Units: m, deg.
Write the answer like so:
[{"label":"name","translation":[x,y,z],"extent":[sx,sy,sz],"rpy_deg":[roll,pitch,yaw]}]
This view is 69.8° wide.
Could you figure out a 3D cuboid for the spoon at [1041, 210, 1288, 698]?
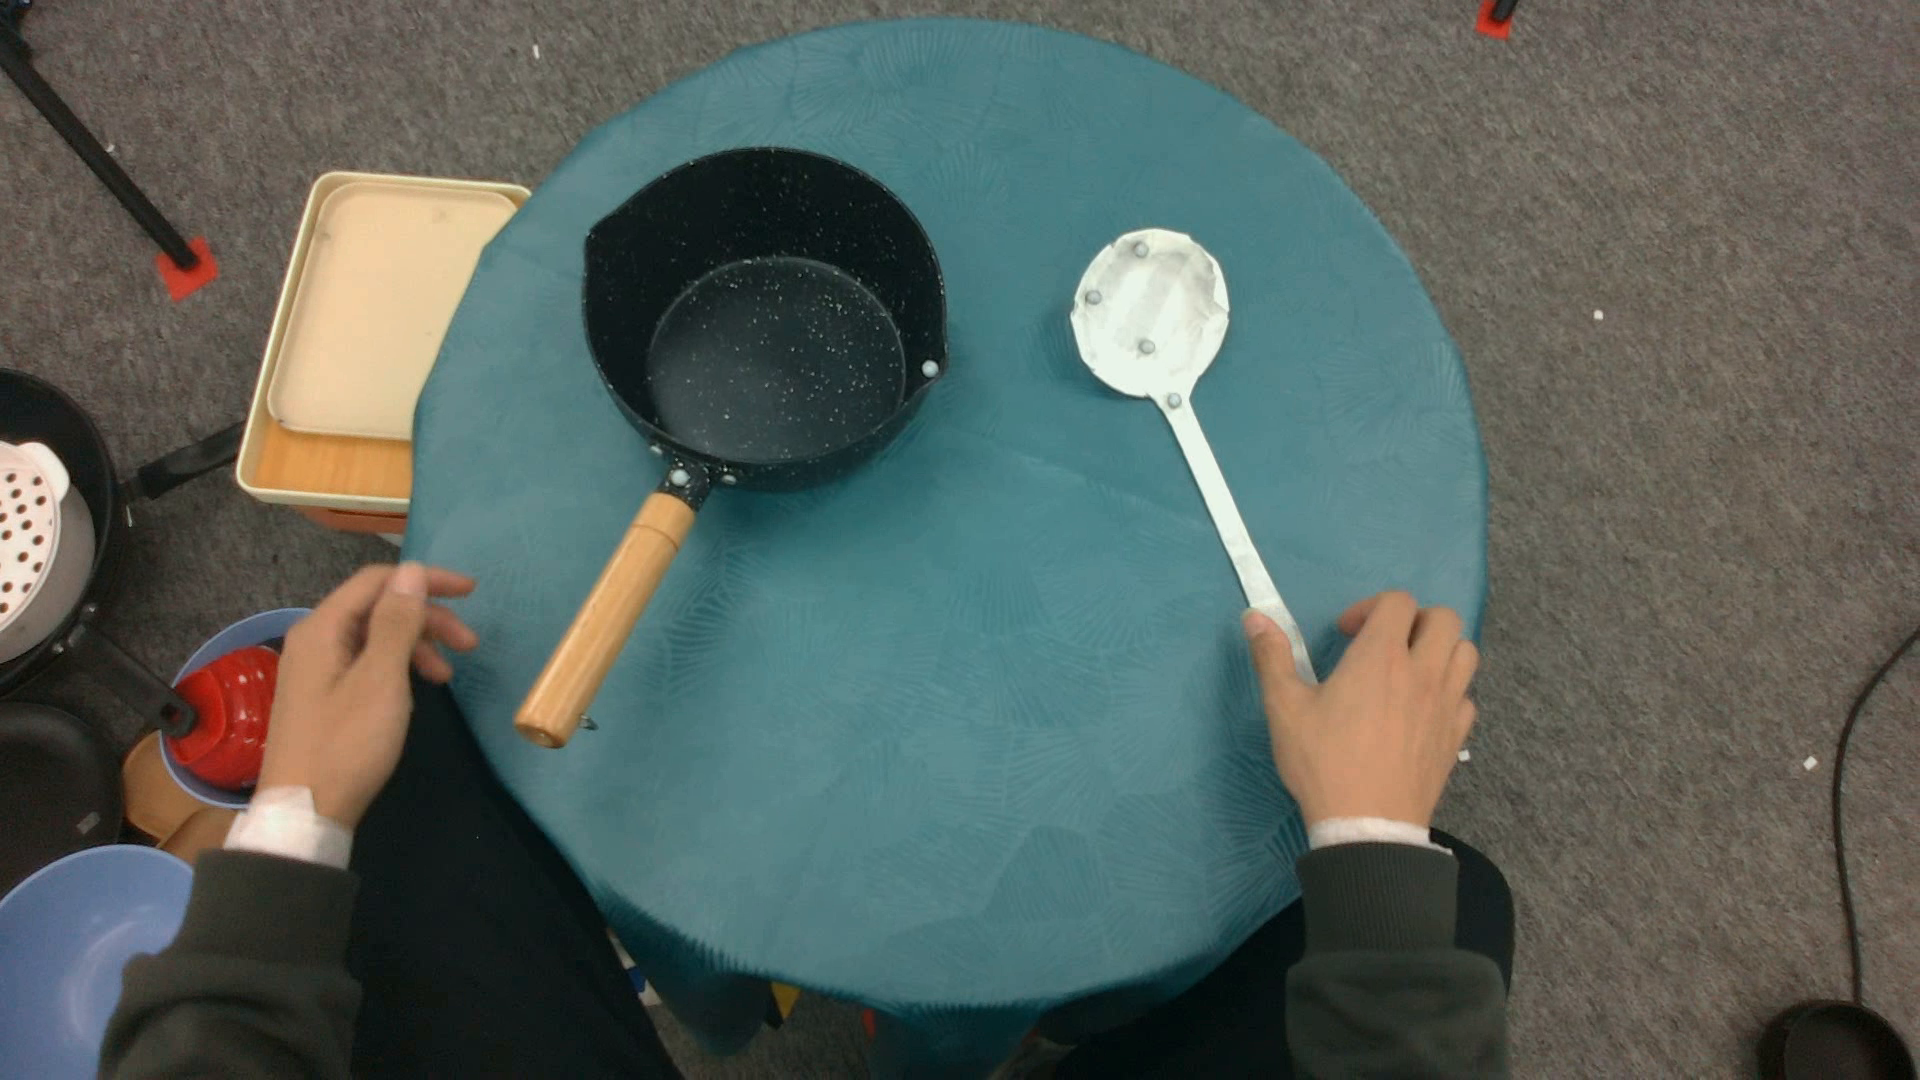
[{"label":"spoon","translation":[0.121,-0.048,0.748],"extent":[0.101,0.059,0.278],"rpy_deg":[-17,72,-8]}]

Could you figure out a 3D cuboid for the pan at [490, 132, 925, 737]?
[{"label":"pan","translation":[-0.140,-0.050,0.704],"extent":[0.207,0.108,0.344],"rpy_deg":[19,69,2]}]
